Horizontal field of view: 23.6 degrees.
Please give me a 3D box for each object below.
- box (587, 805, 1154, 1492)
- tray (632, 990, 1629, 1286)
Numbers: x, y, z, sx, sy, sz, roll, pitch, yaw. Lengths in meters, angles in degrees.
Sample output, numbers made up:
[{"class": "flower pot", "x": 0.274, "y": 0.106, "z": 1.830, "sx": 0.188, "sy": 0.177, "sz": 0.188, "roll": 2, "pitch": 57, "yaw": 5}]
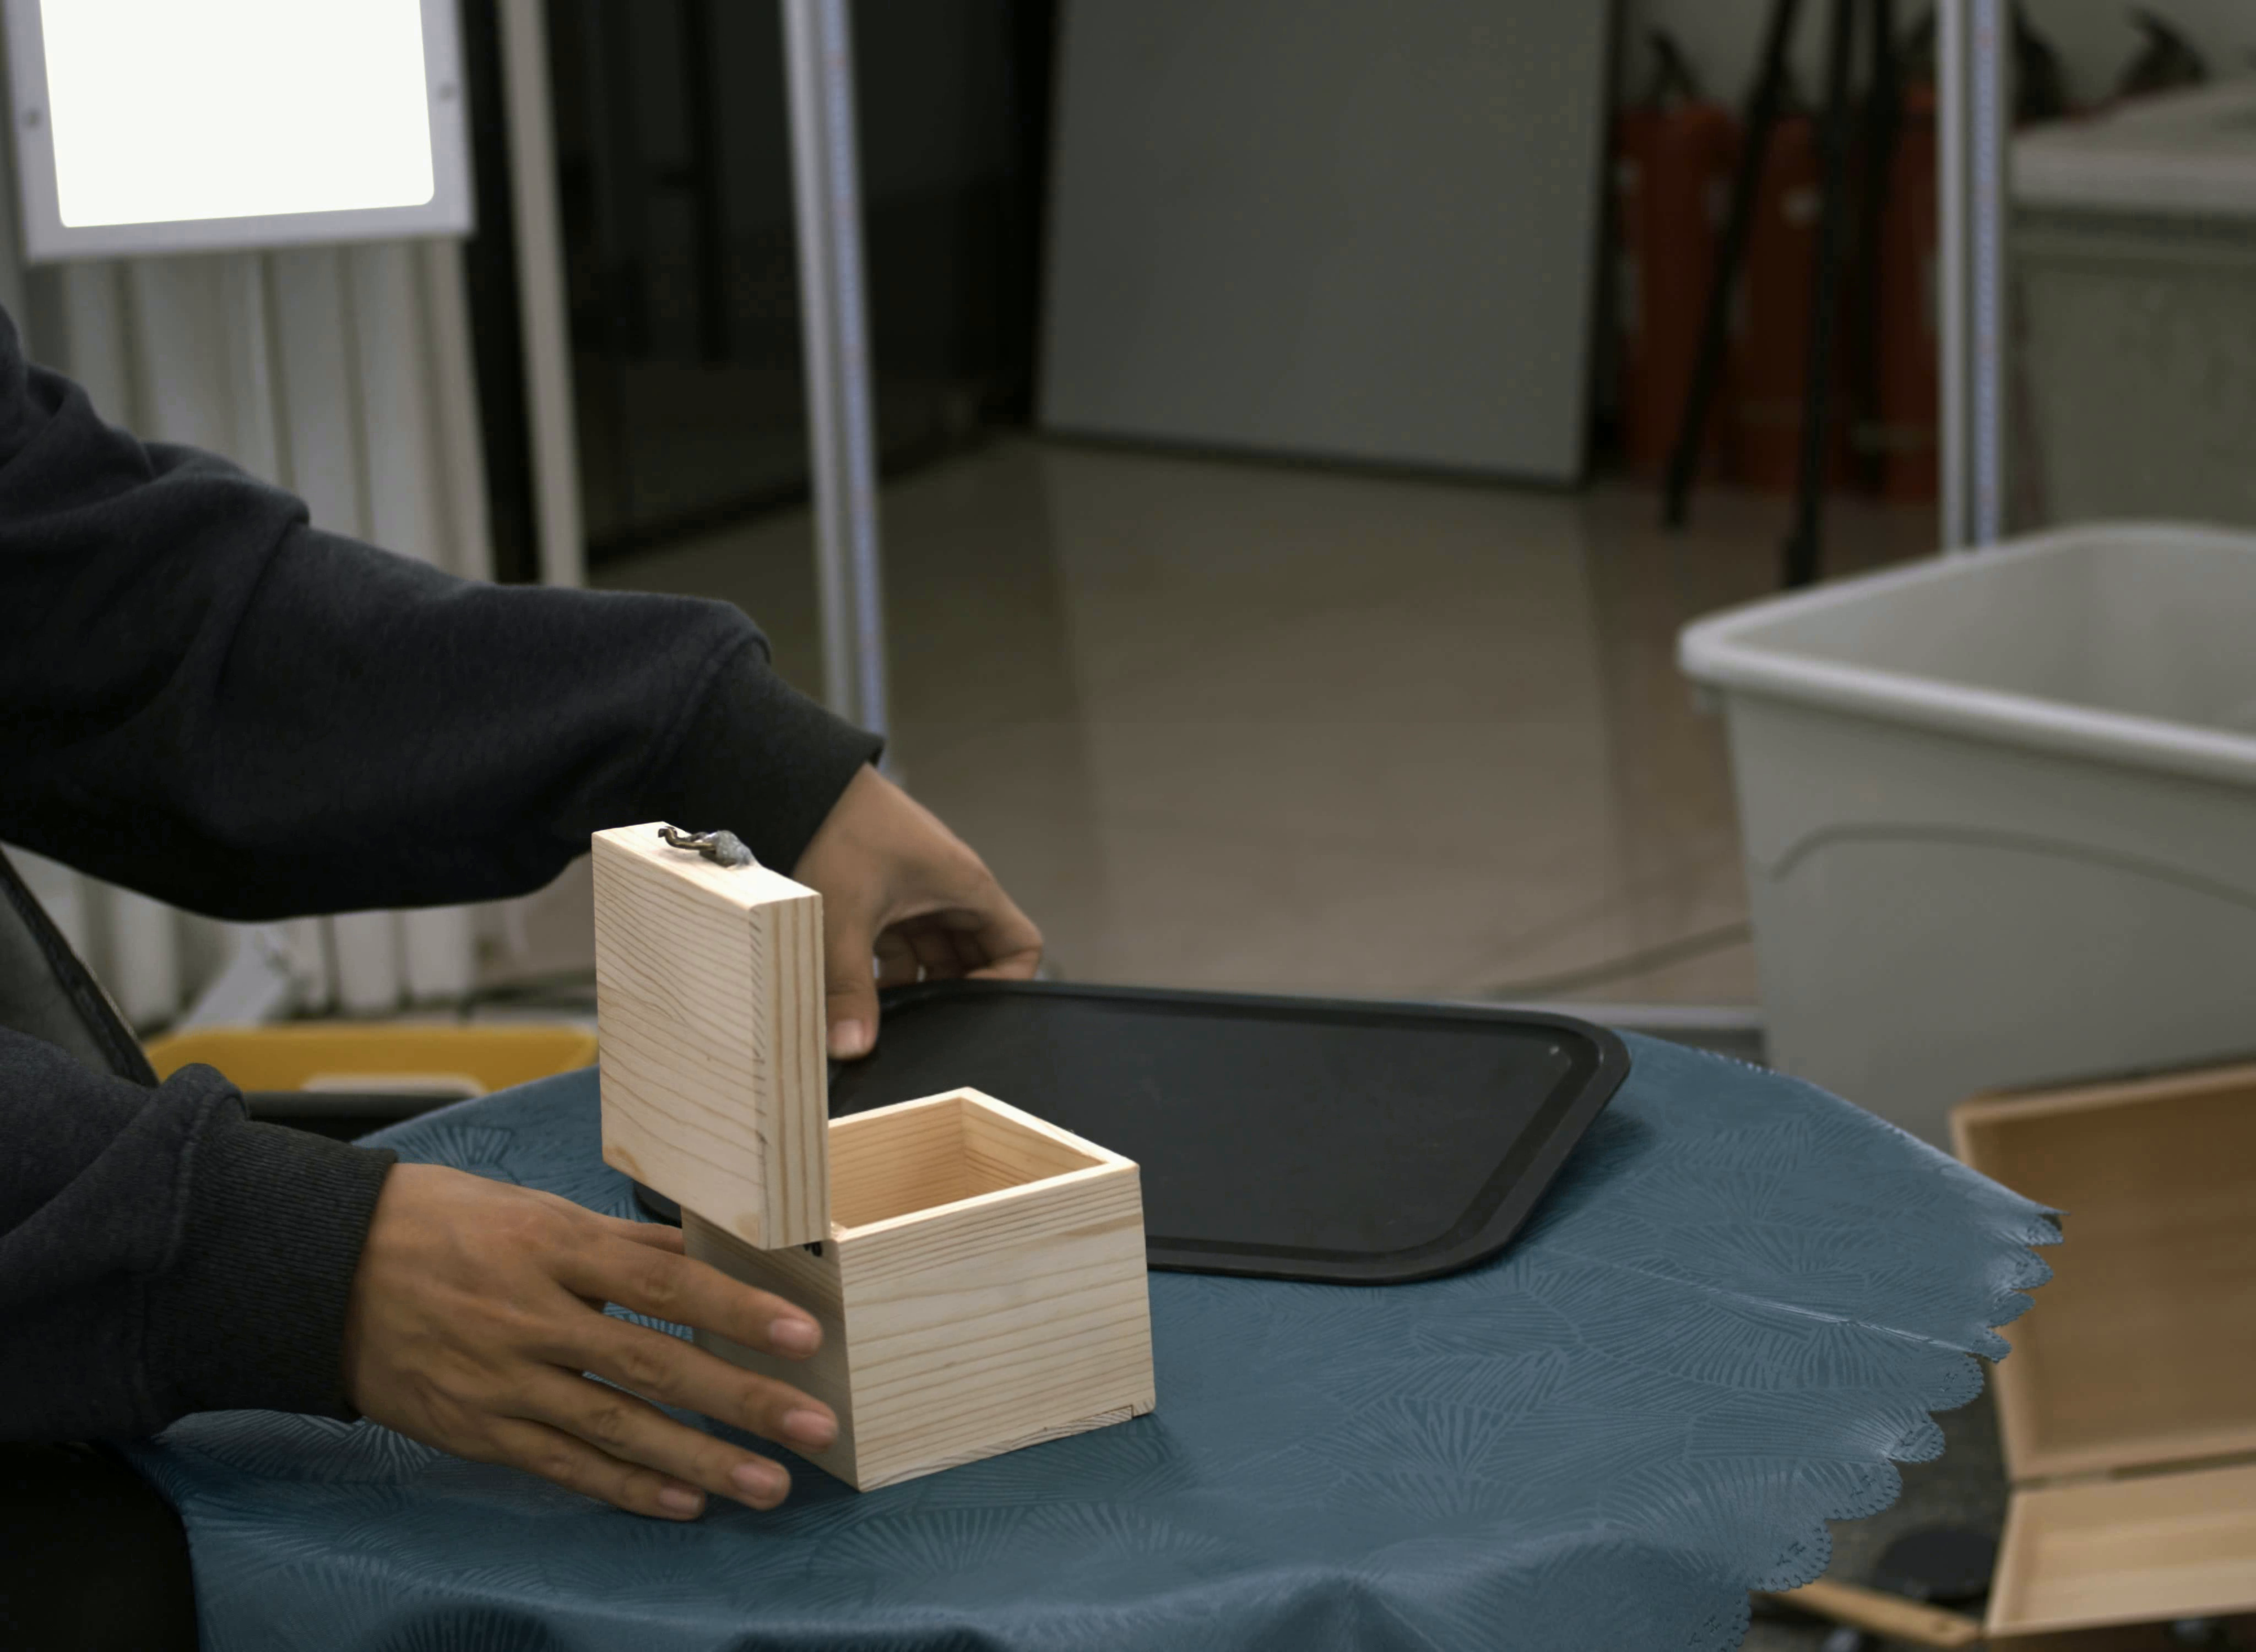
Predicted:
[{"class": "box", "x": -0.073, "y": 0.082, "z": 1.555, "sx": 0.131, "sy": 0.186, "sz": 0.104, "roll": -12, "pitch": 16, "yaw": -29}, {"class": "tray", "x": -0.005, "y": 0.099, "z": 1.798, "sx": 0.325, "sy": 0.010, "sz": 0.209, "roll": 2, "pitch": 22, "yaw": 24}]
